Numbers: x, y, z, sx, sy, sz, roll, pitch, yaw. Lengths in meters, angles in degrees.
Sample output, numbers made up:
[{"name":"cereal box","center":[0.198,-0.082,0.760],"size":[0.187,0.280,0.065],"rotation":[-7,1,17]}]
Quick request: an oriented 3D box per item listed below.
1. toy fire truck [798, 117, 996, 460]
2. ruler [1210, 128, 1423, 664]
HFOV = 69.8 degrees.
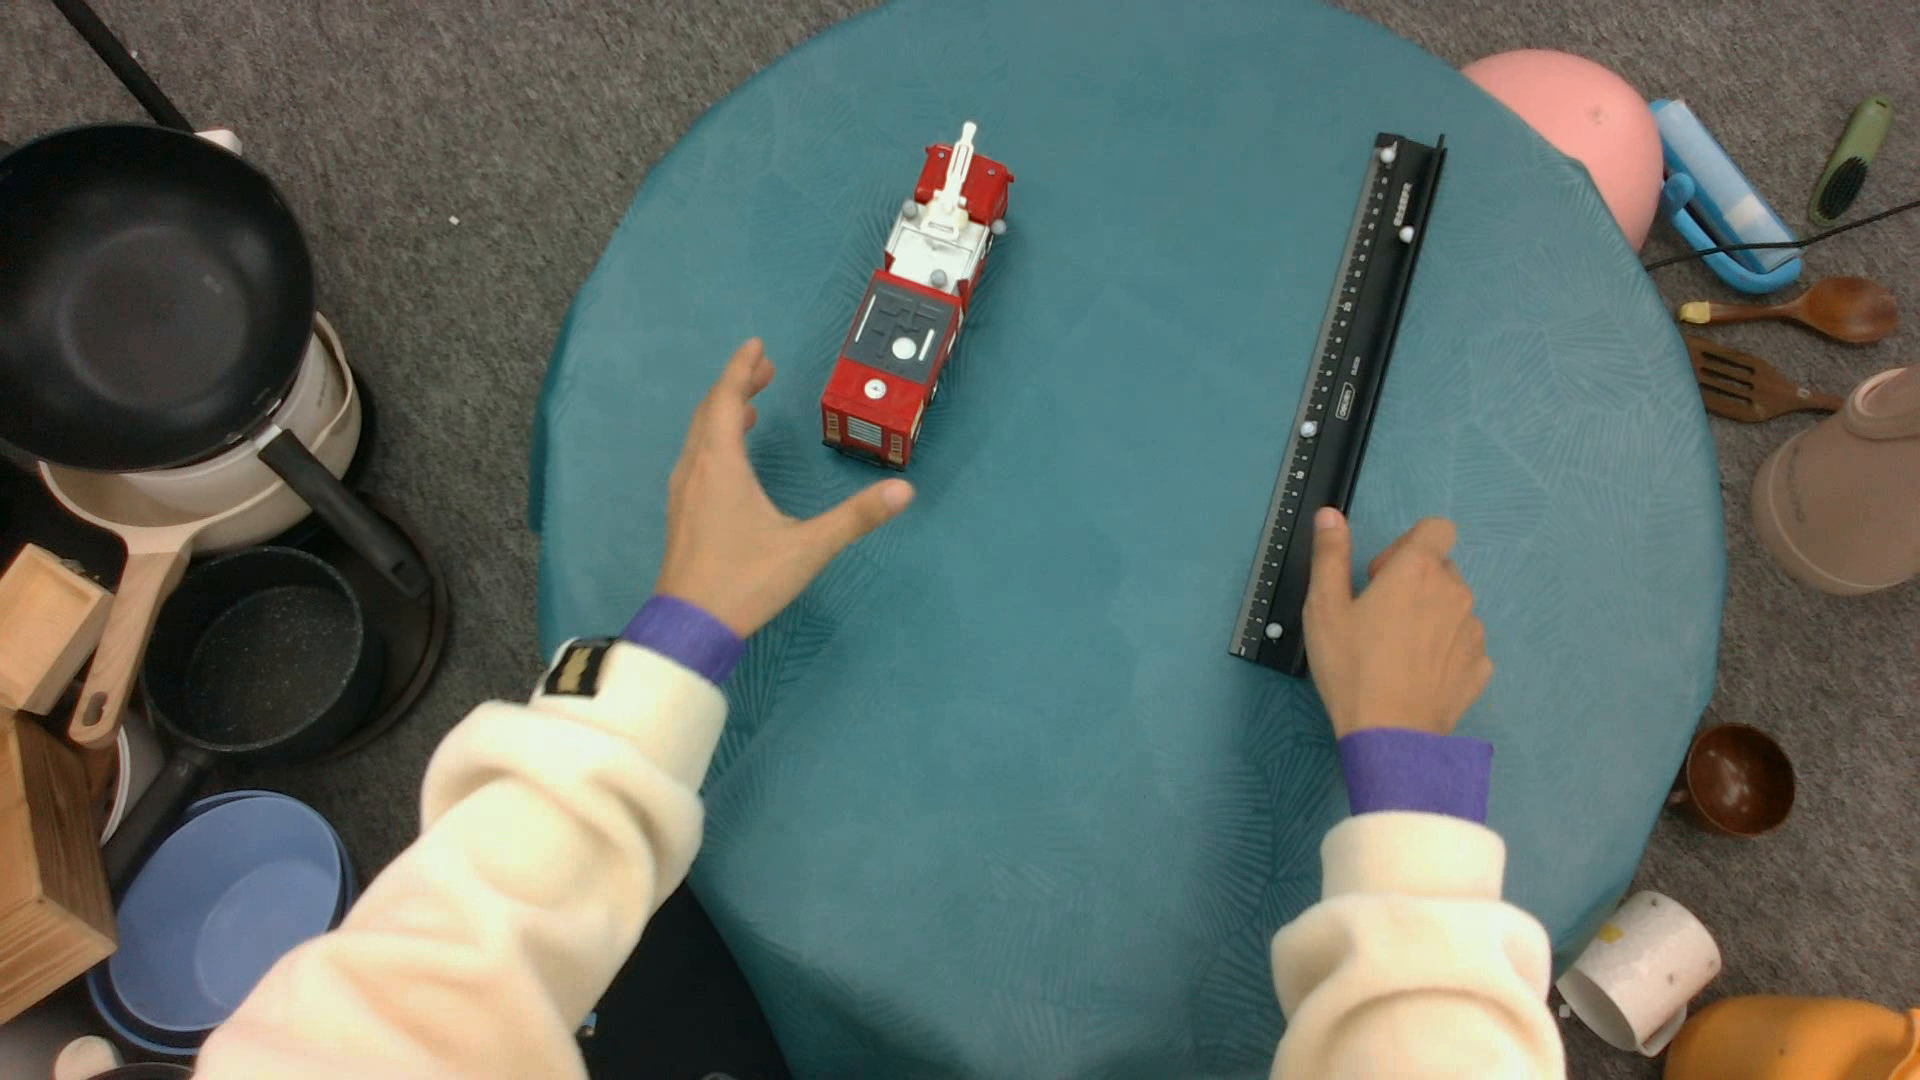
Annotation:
[{"name":"toy fire truck","center":[-0.031,-0.125,0.688],"size":[0.054,0.070,0.168],"rotation":[19,73,2]},{"name":"ruler","center":[0.190,-0.087,0.712],"size":[0.039,0.017,0.313],"rotation":[18,72,6]}]
